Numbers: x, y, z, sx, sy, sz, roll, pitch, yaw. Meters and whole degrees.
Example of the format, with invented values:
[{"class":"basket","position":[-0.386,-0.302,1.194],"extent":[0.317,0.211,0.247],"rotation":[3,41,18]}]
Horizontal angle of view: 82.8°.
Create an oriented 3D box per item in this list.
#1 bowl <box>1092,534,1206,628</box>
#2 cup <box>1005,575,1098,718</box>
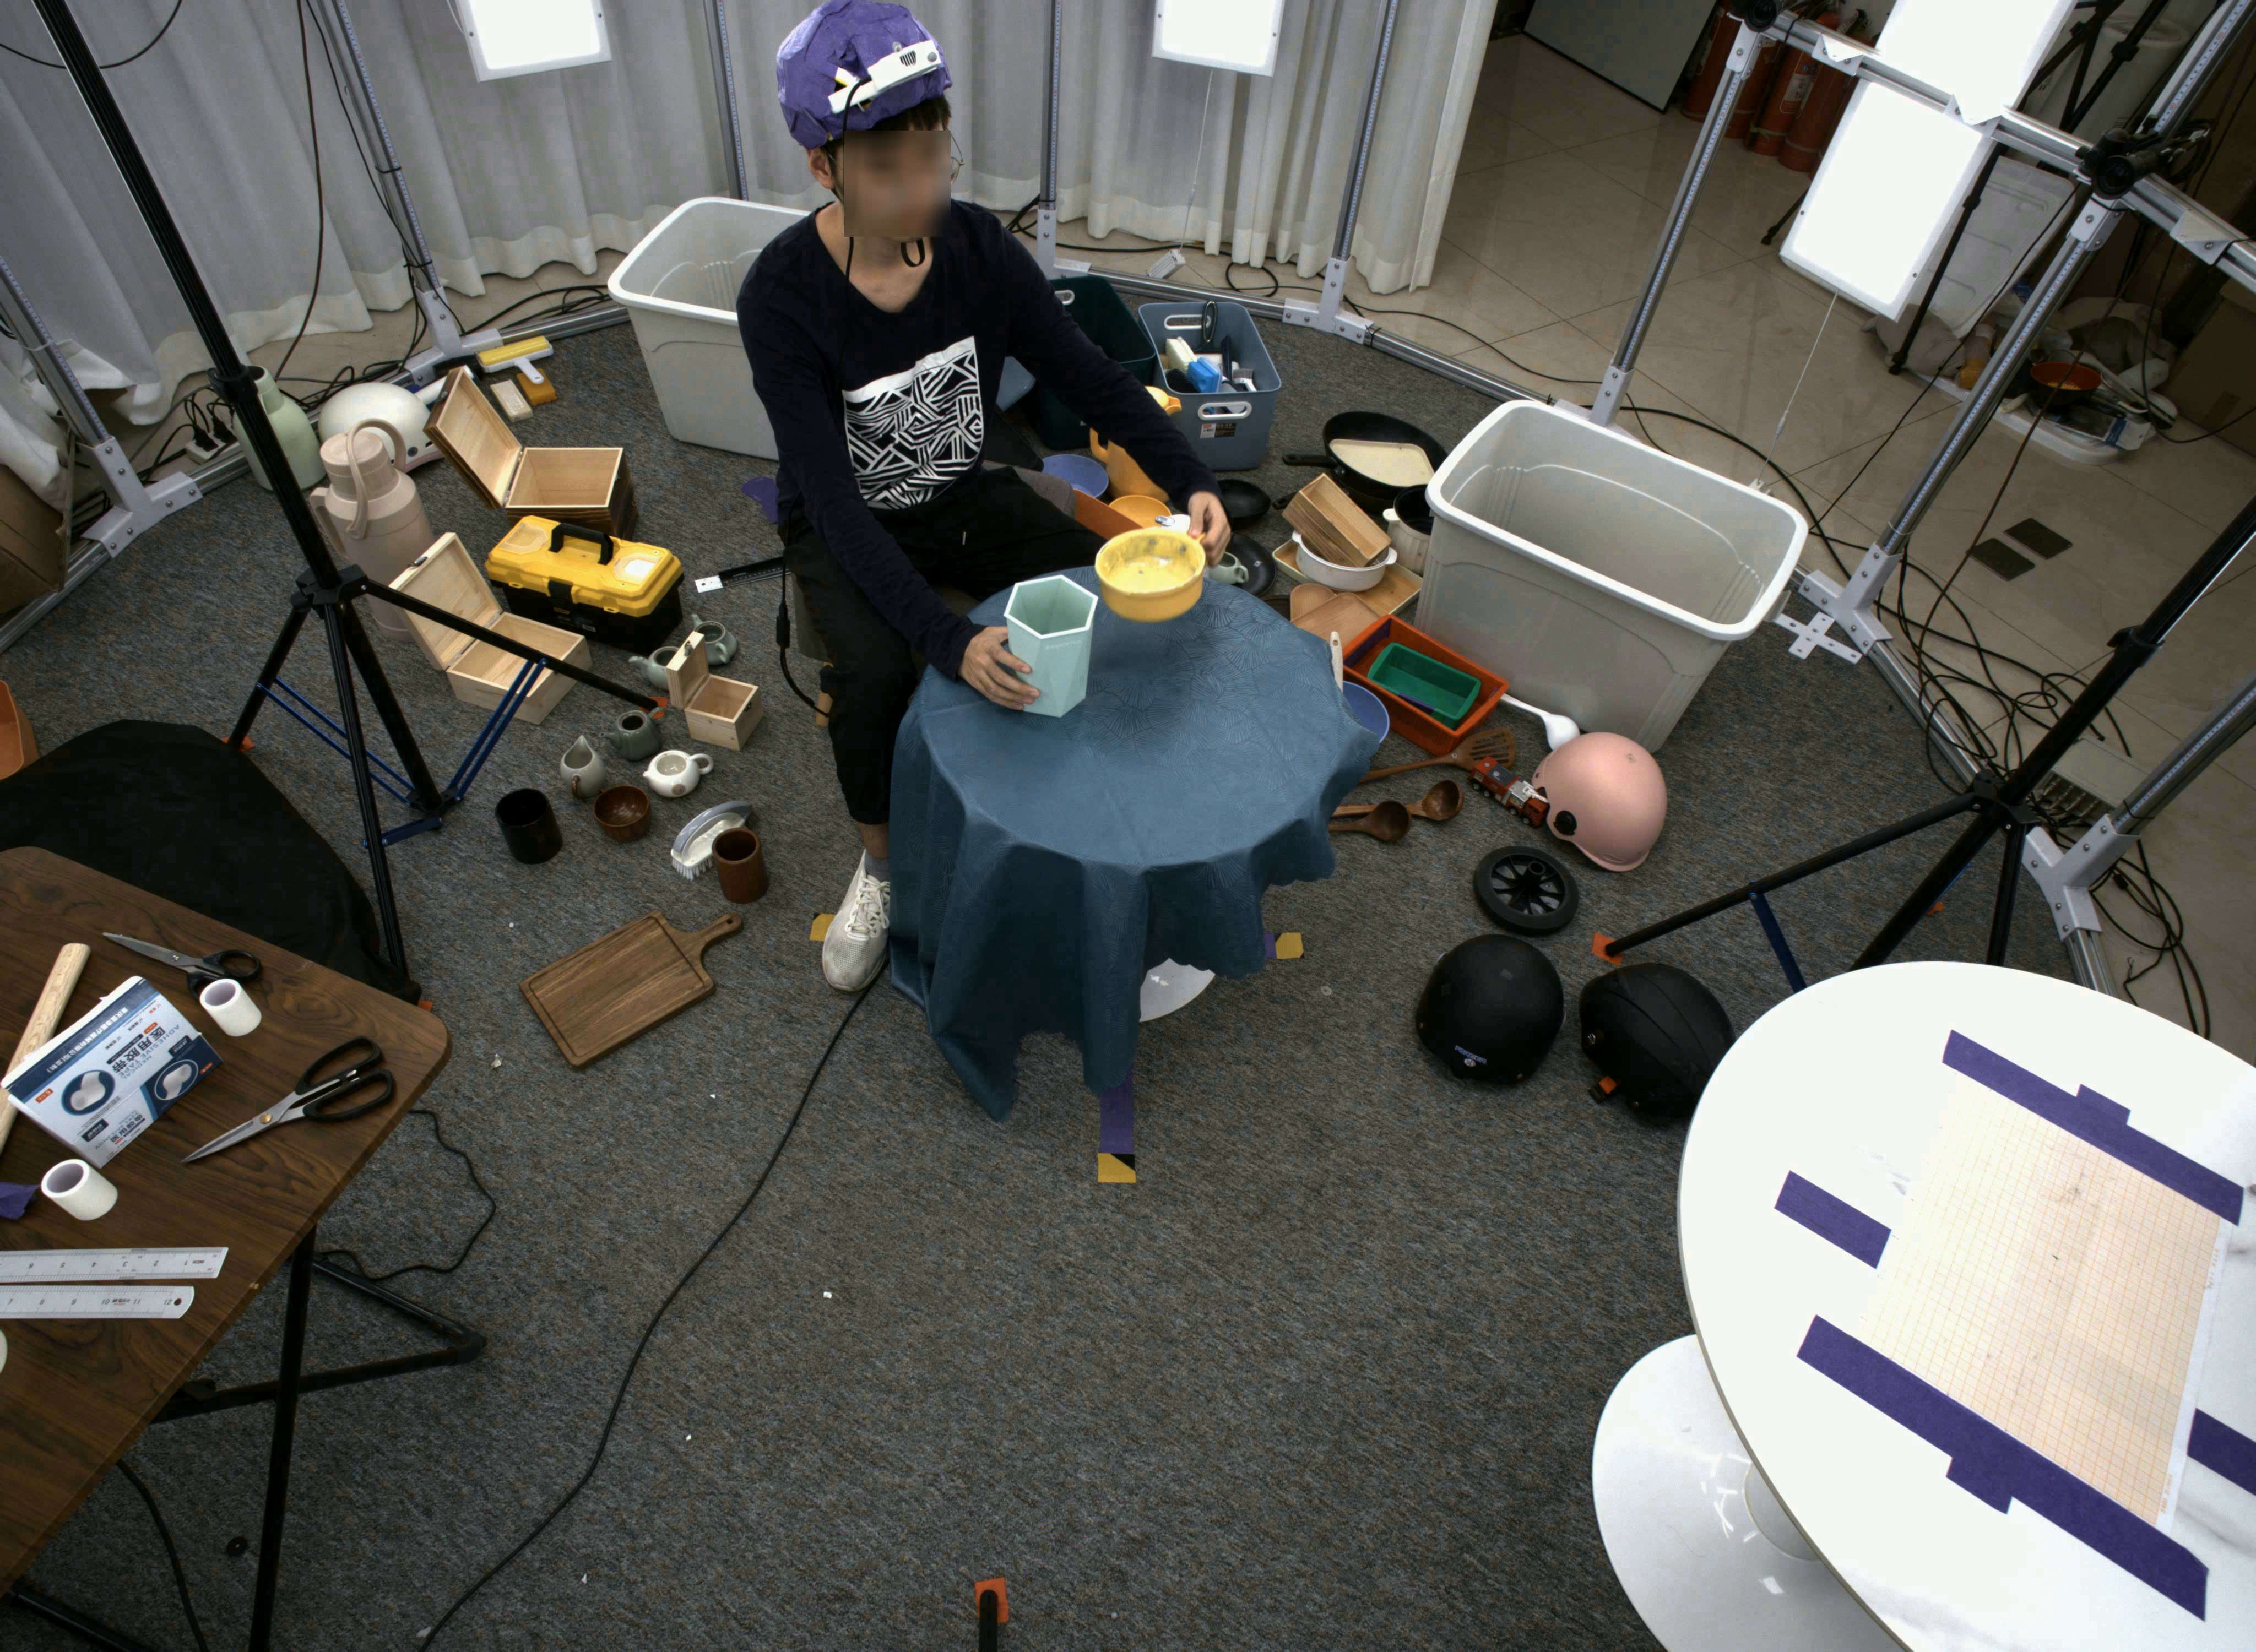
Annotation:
[{"class":"bowl","position":[0.040,-0.349,1.817],"extent":[0.155,0.072,0.181],"rotation":[30,55,34]},{"class":"cup","position":[-0.106,-0.241,1.765],"extent":[0.131,0.159,0.118],"rotation":[-14,49,-18]}]
